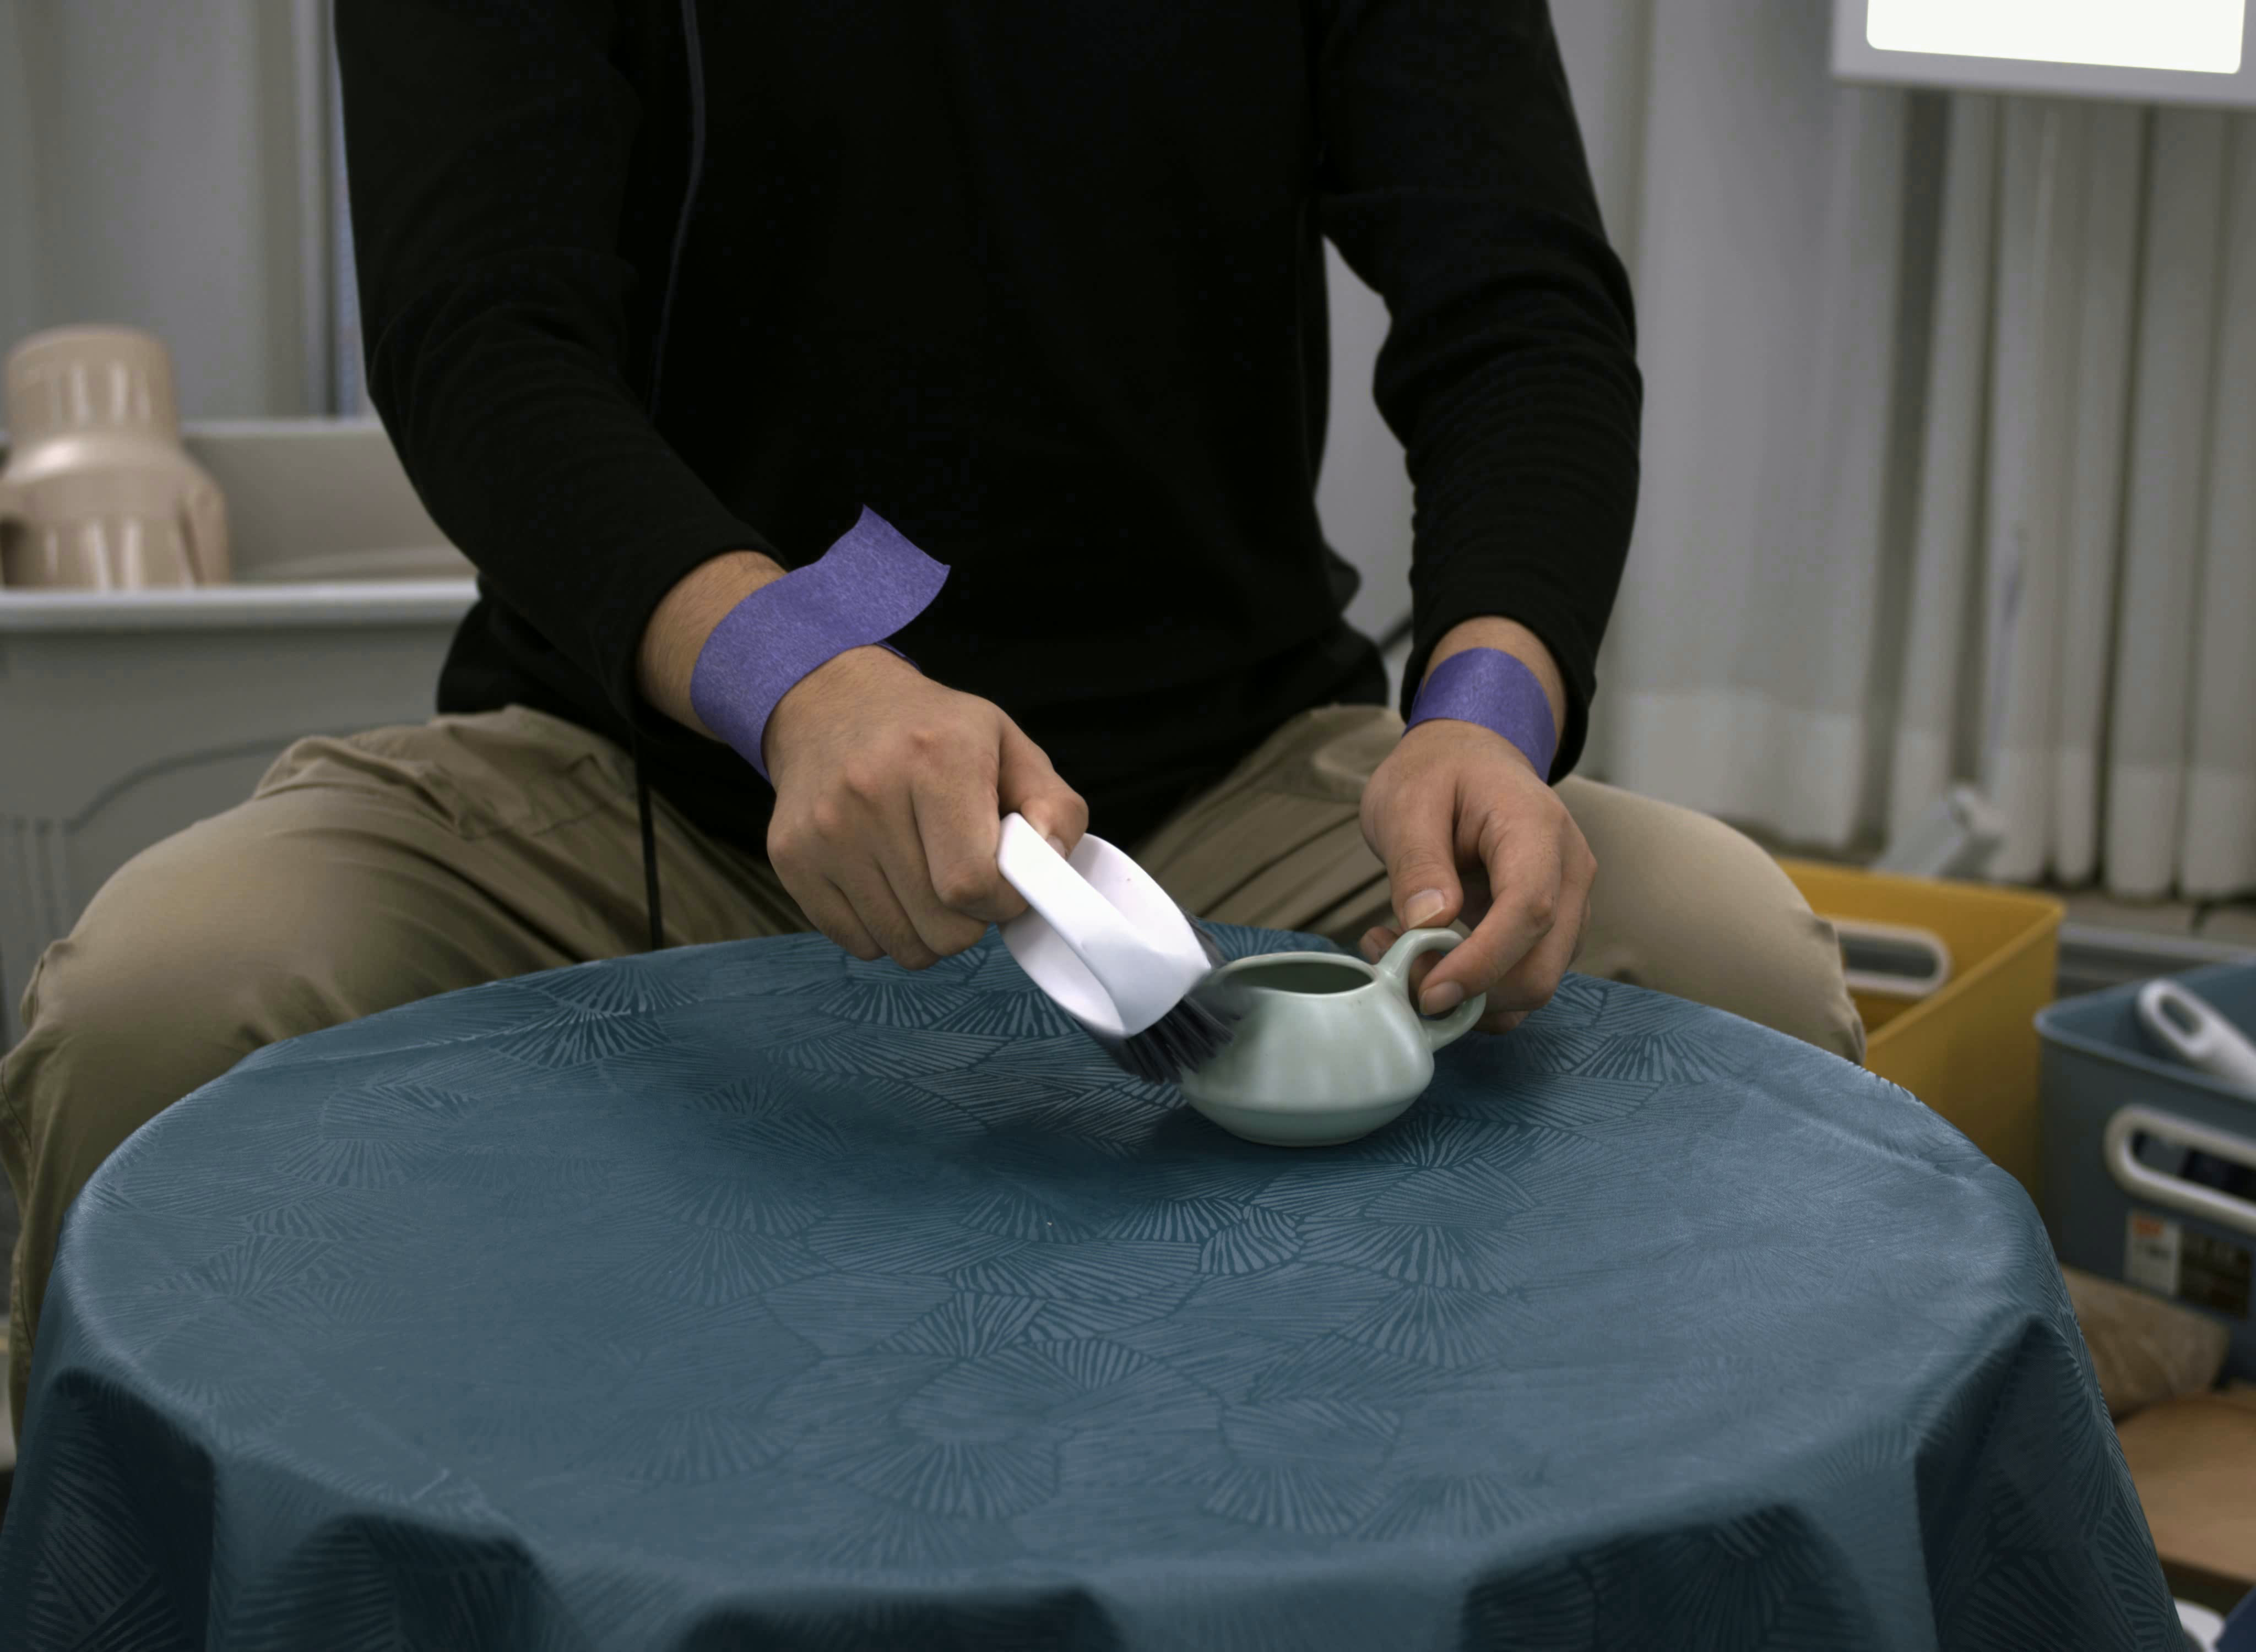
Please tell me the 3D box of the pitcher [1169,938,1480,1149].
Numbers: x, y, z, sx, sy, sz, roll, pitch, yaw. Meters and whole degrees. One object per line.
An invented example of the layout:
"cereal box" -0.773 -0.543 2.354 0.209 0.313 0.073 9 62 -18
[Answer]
"pitcher" 0.064 0.067 1.684 0.108 0.061 0.085 -3 17 -29

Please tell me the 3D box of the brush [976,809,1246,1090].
"brush" -0.013 0.030 1.646 0.050 0.073 0.098 -43 39 1
